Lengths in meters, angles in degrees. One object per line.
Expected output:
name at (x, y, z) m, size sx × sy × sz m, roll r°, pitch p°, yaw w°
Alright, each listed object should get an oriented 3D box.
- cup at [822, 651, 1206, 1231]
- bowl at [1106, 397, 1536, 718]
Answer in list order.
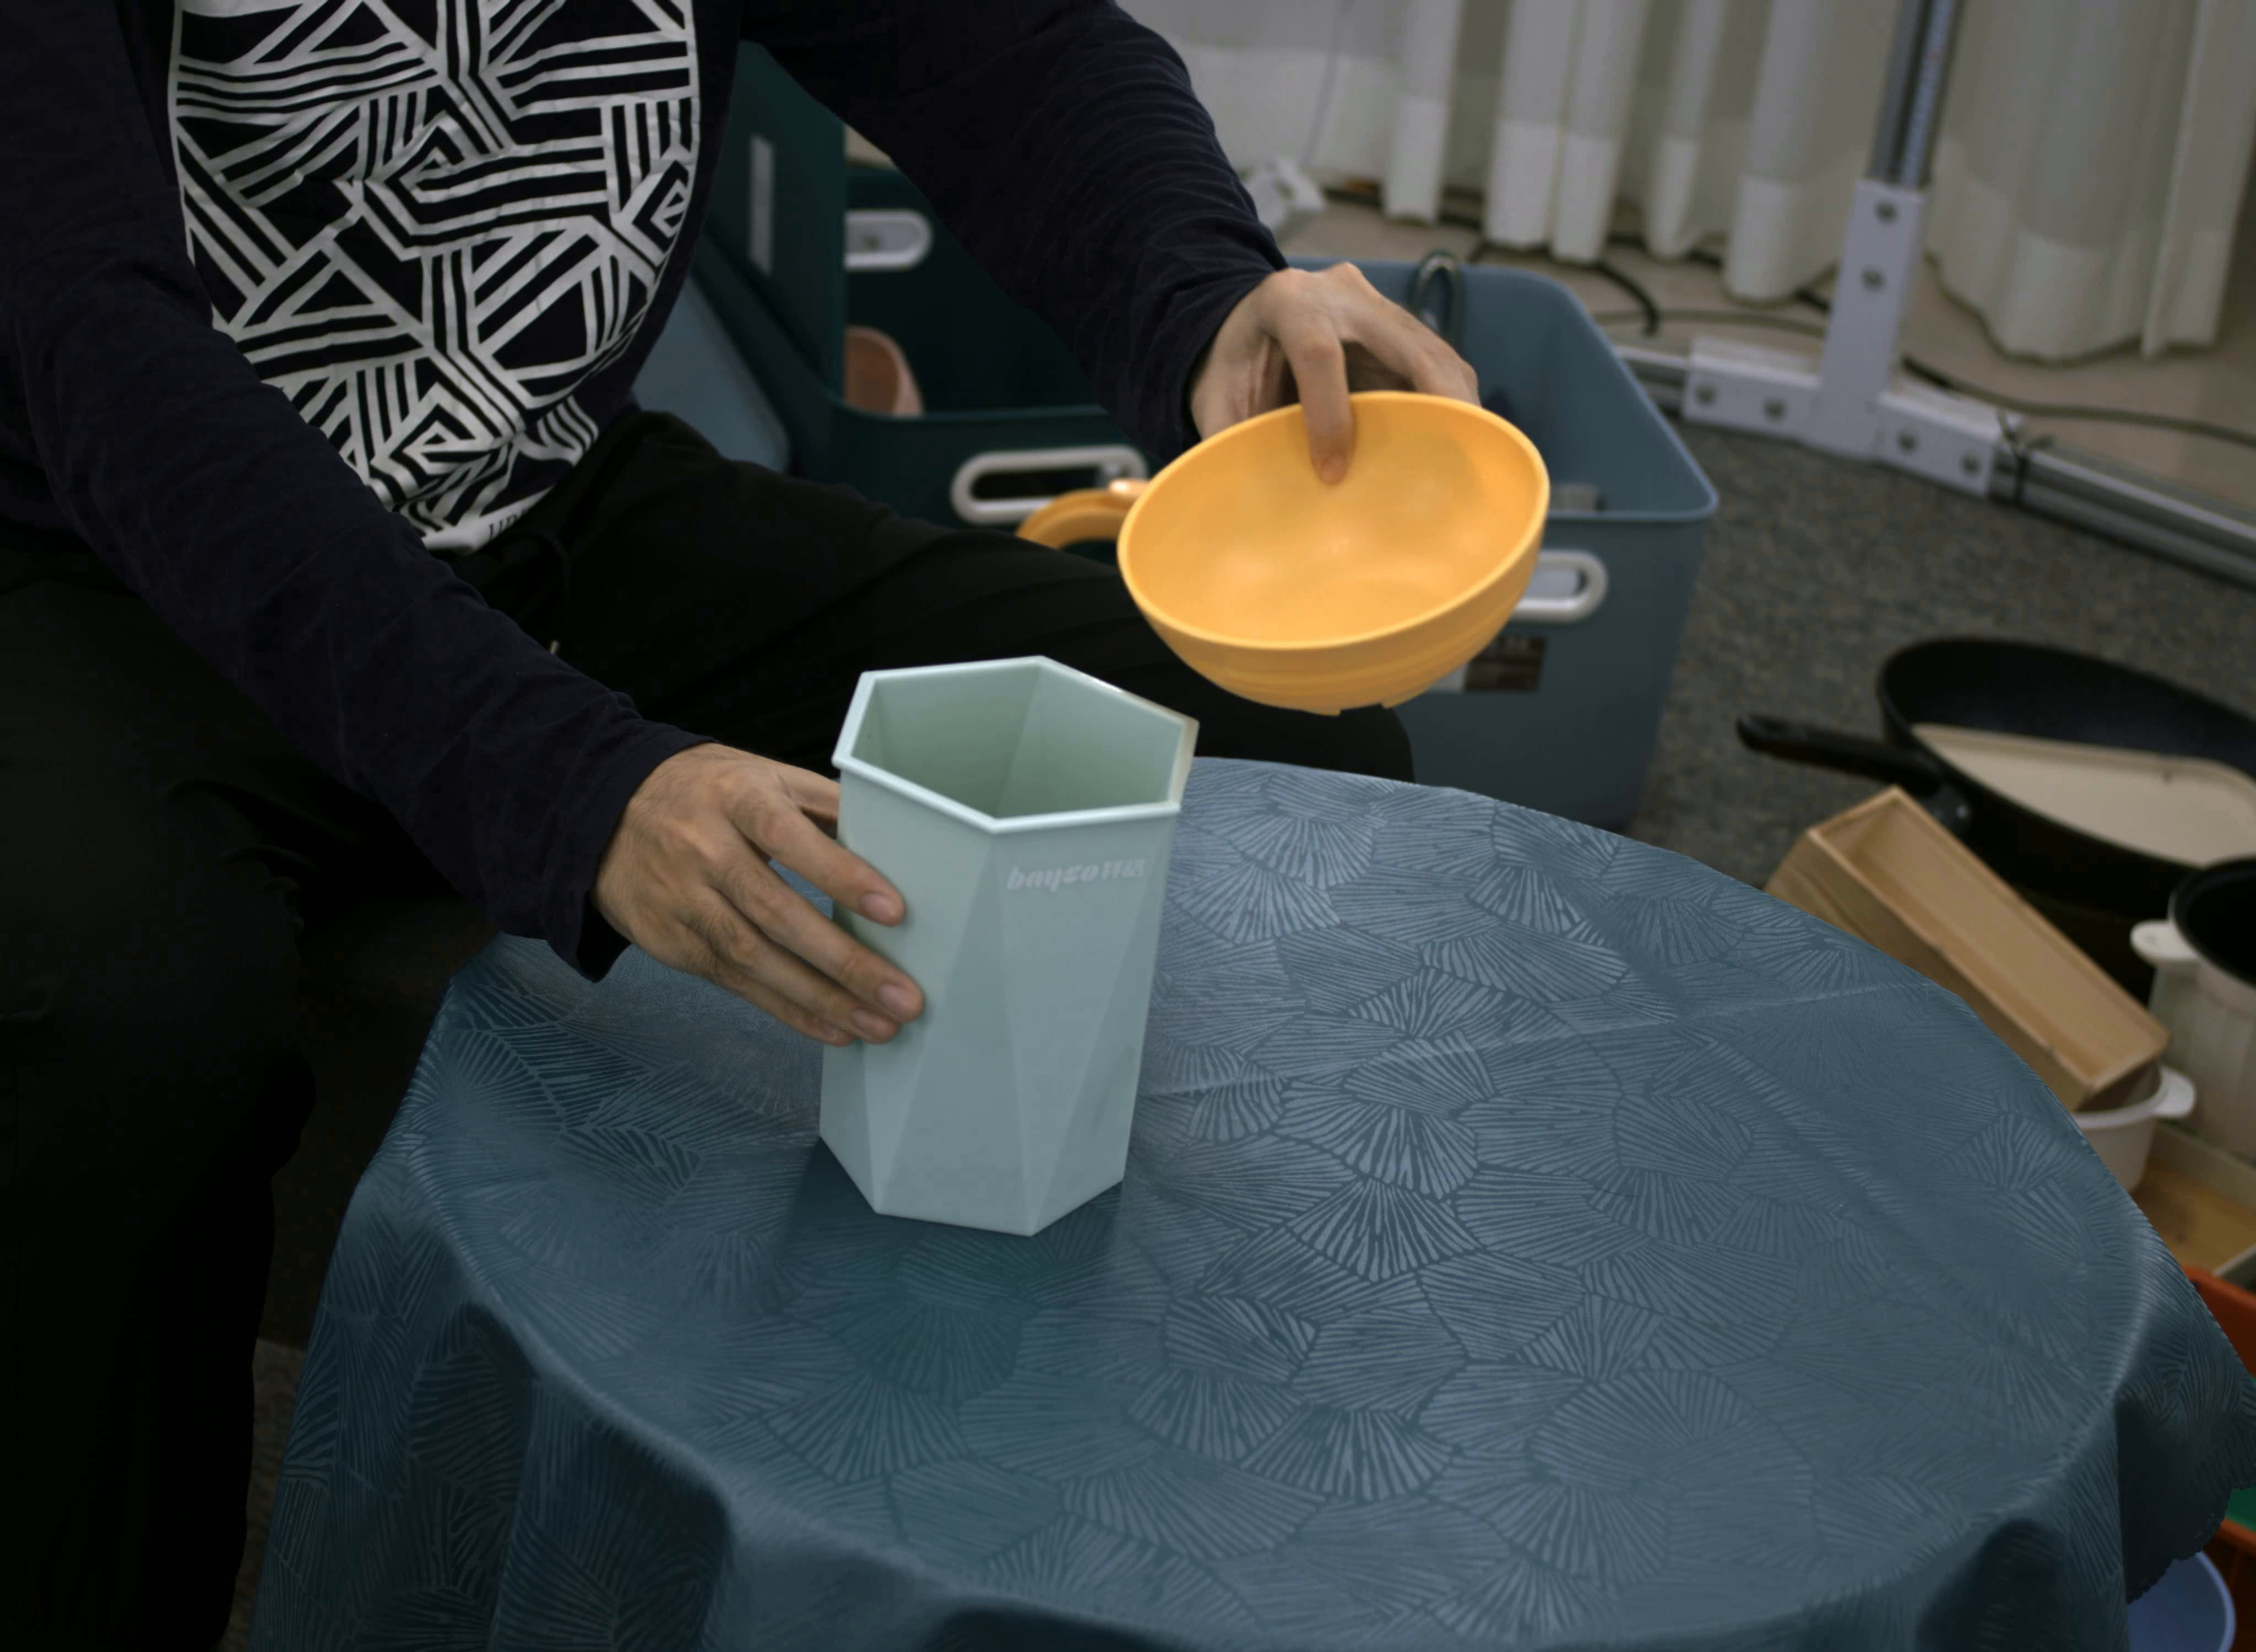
cup at (-0.042, 0.041, 1.778) m, size 0.130 × 0.162 × 0.116 m, roll -6°, pitch 29°, yaw -25°
bowl at (0.069, -0.079, 1.768) m, size 0.145 × 0.060 × 0.146 m, roll -11°, pitch 34°, yaw 7°
